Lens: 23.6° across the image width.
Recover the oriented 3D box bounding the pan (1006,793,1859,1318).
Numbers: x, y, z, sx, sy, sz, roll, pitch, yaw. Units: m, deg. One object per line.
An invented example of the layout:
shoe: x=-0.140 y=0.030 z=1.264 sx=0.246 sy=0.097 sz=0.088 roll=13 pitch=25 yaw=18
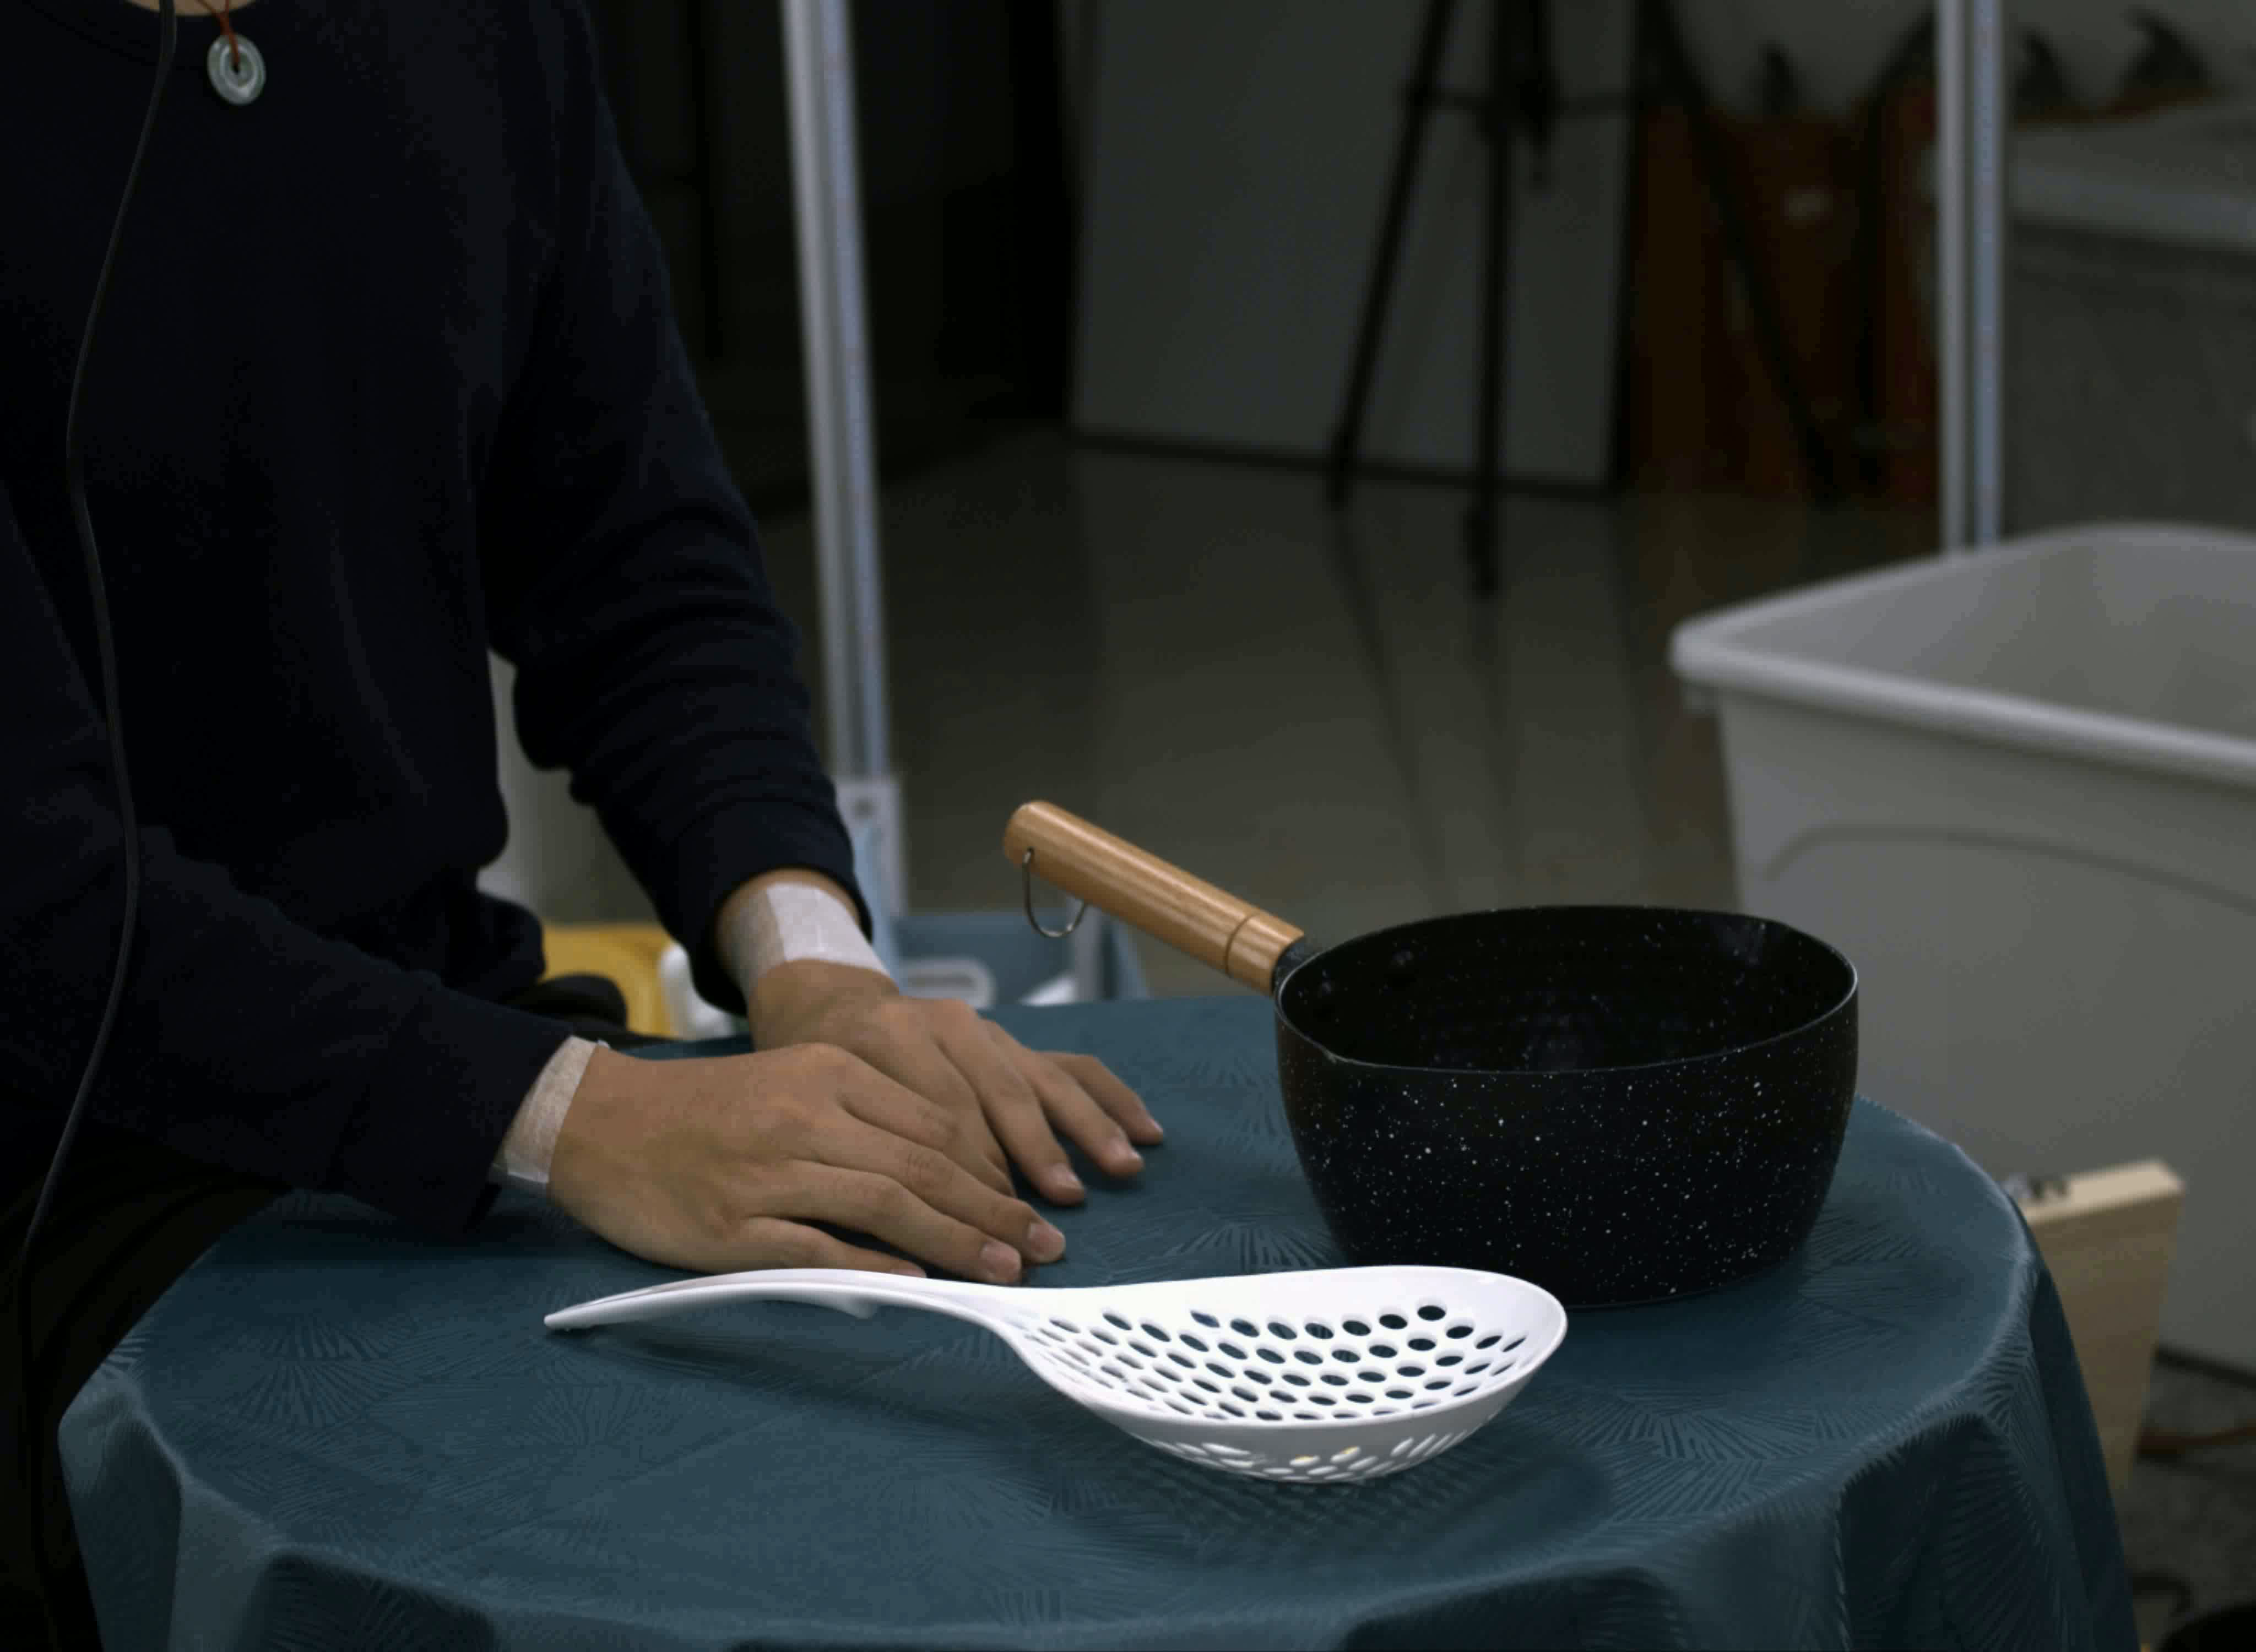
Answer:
pan: x=0.082 y=0.067 z=1.740 sx=0.203 sy=0.109 sz=0.346 roll=-18 pitch=21 yaw=-41

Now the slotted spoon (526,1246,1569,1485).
slotted spoon: x=-0.034 y=0.150 z=1.573 sx=0.350 sy=0.051 sz=0.134 roll=7 pitch=19 yaw=33
